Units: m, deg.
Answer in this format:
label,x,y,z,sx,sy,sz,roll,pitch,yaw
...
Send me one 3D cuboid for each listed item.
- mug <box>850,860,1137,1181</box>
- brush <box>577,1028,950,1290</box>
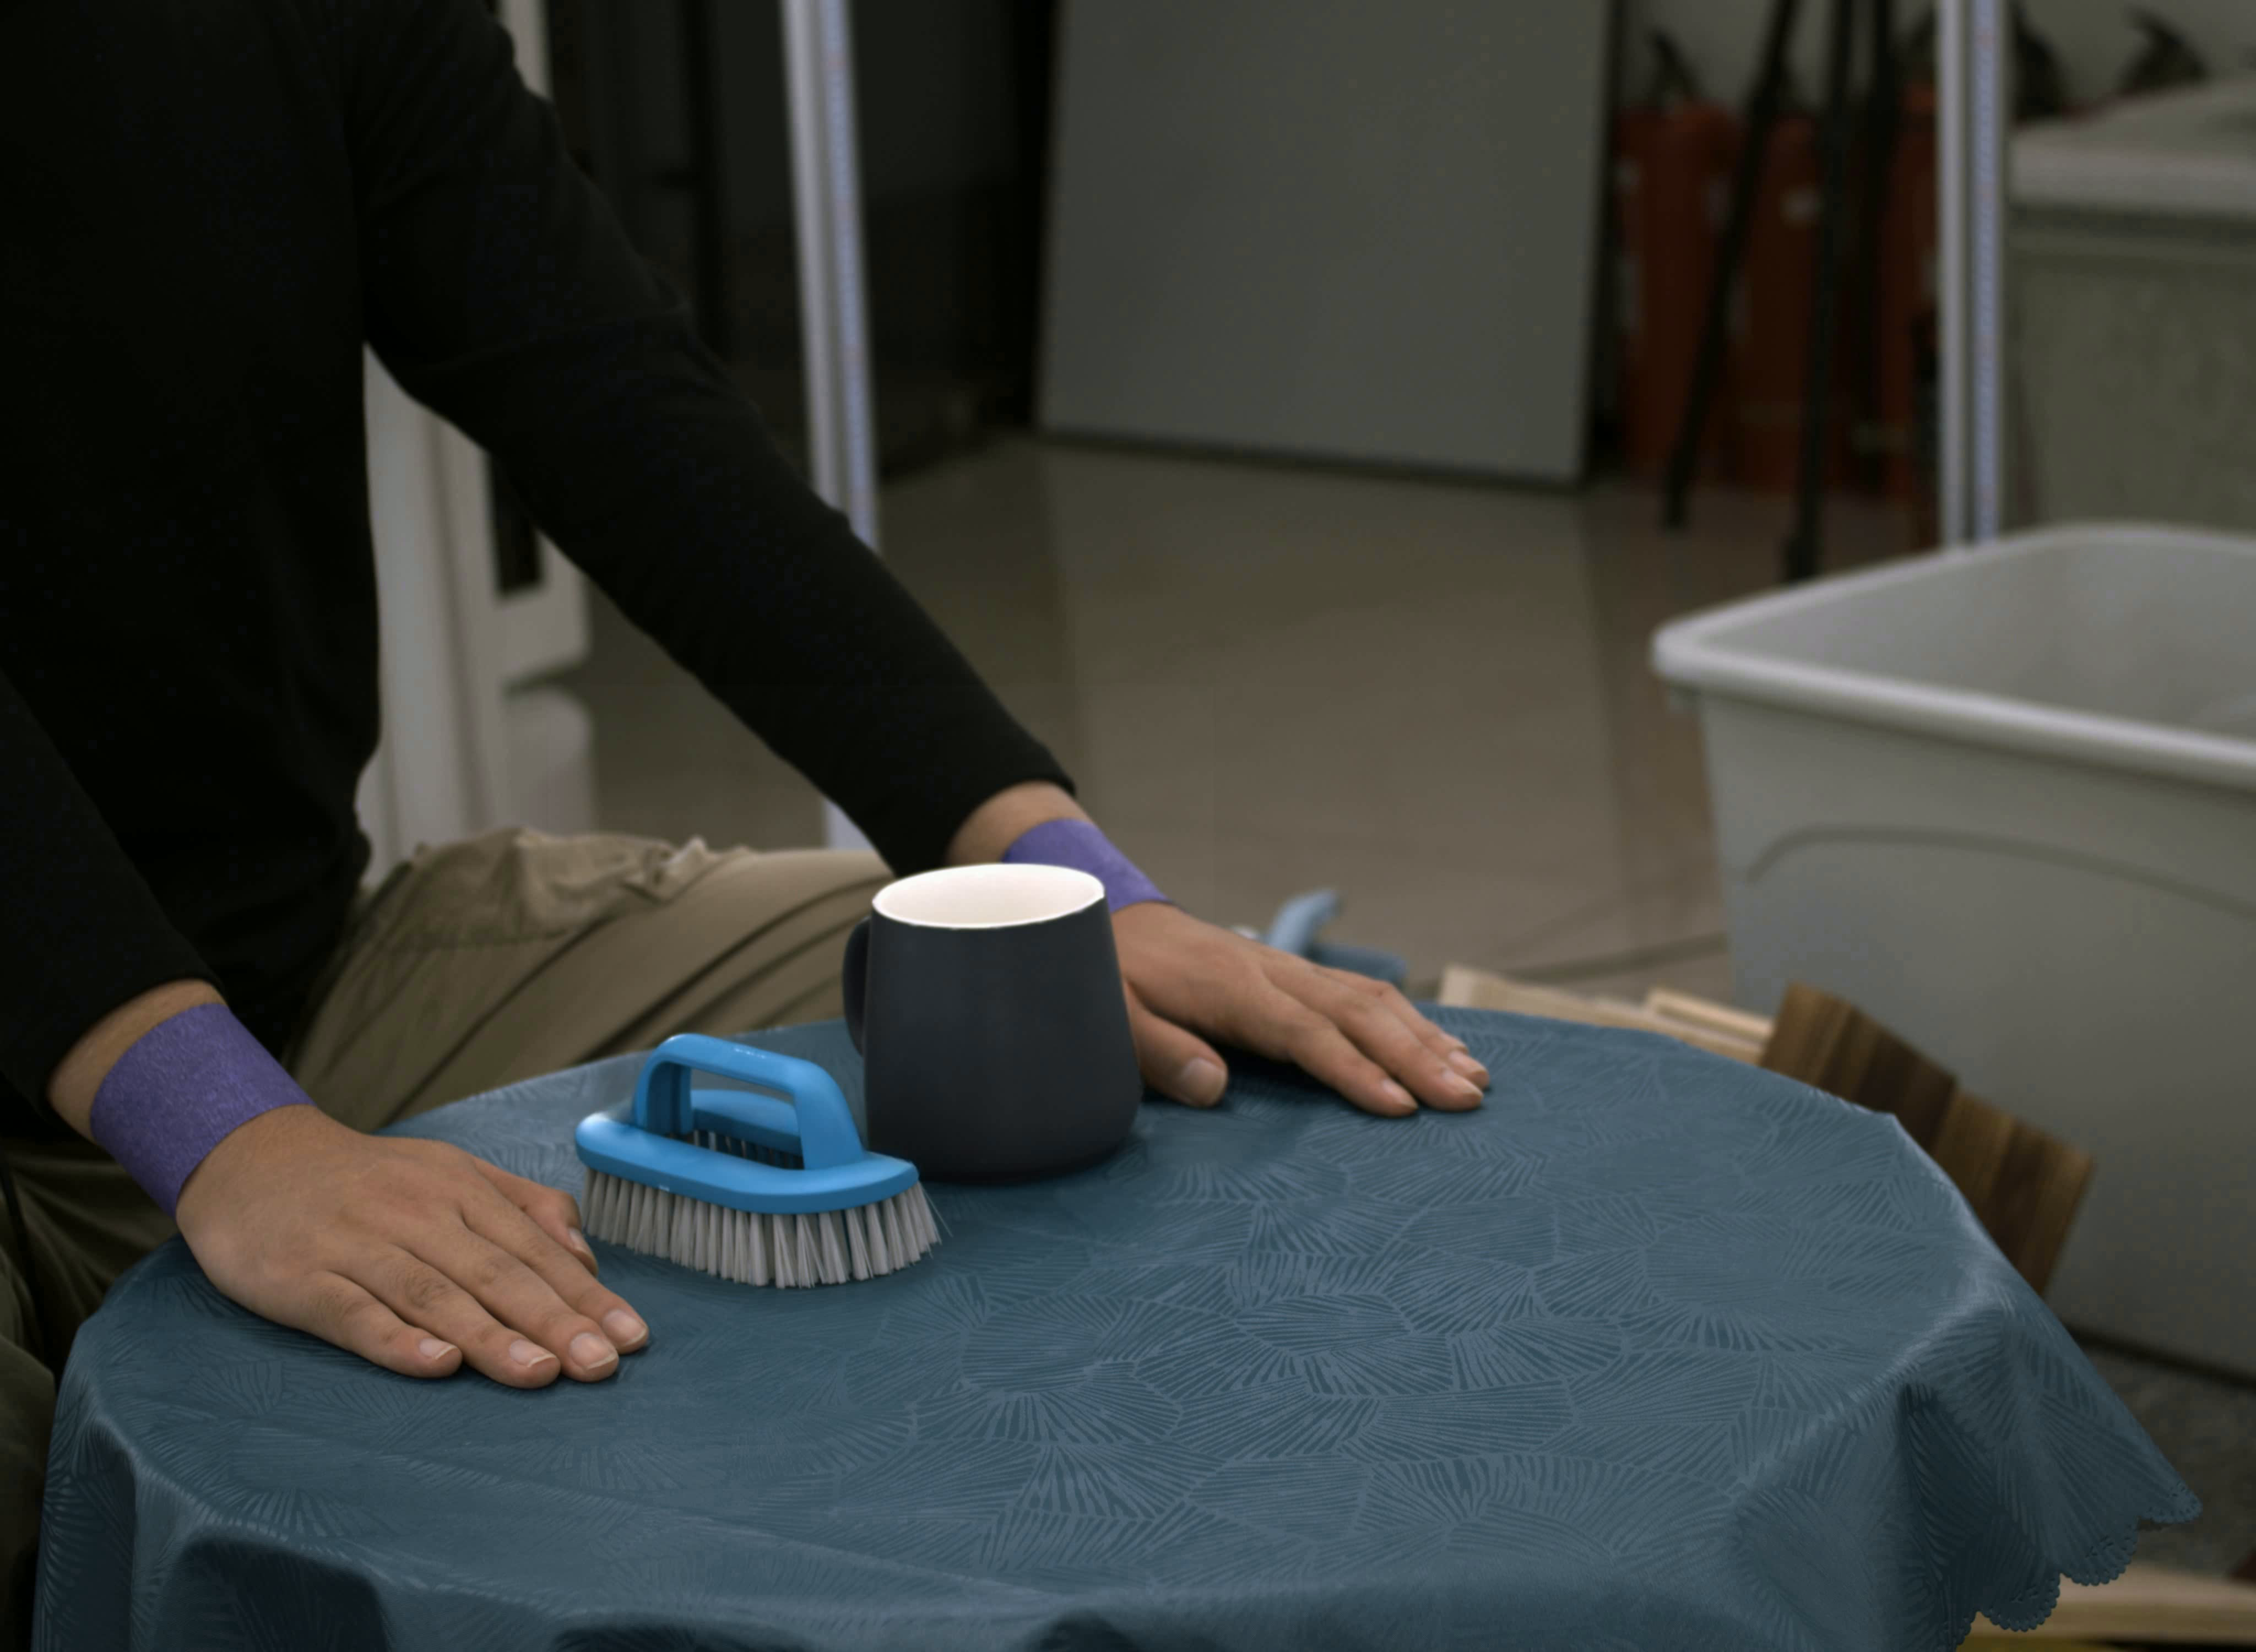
label,x,y,z,sx,sy,sz,roll,pitch,yaw
mug,-0.053,0.062,1.824,0.091,0.091,0.124,-13,18,-36
brush,-0.122,0.101,1.748,0.082,0.064,0.143,-21,20,-38
